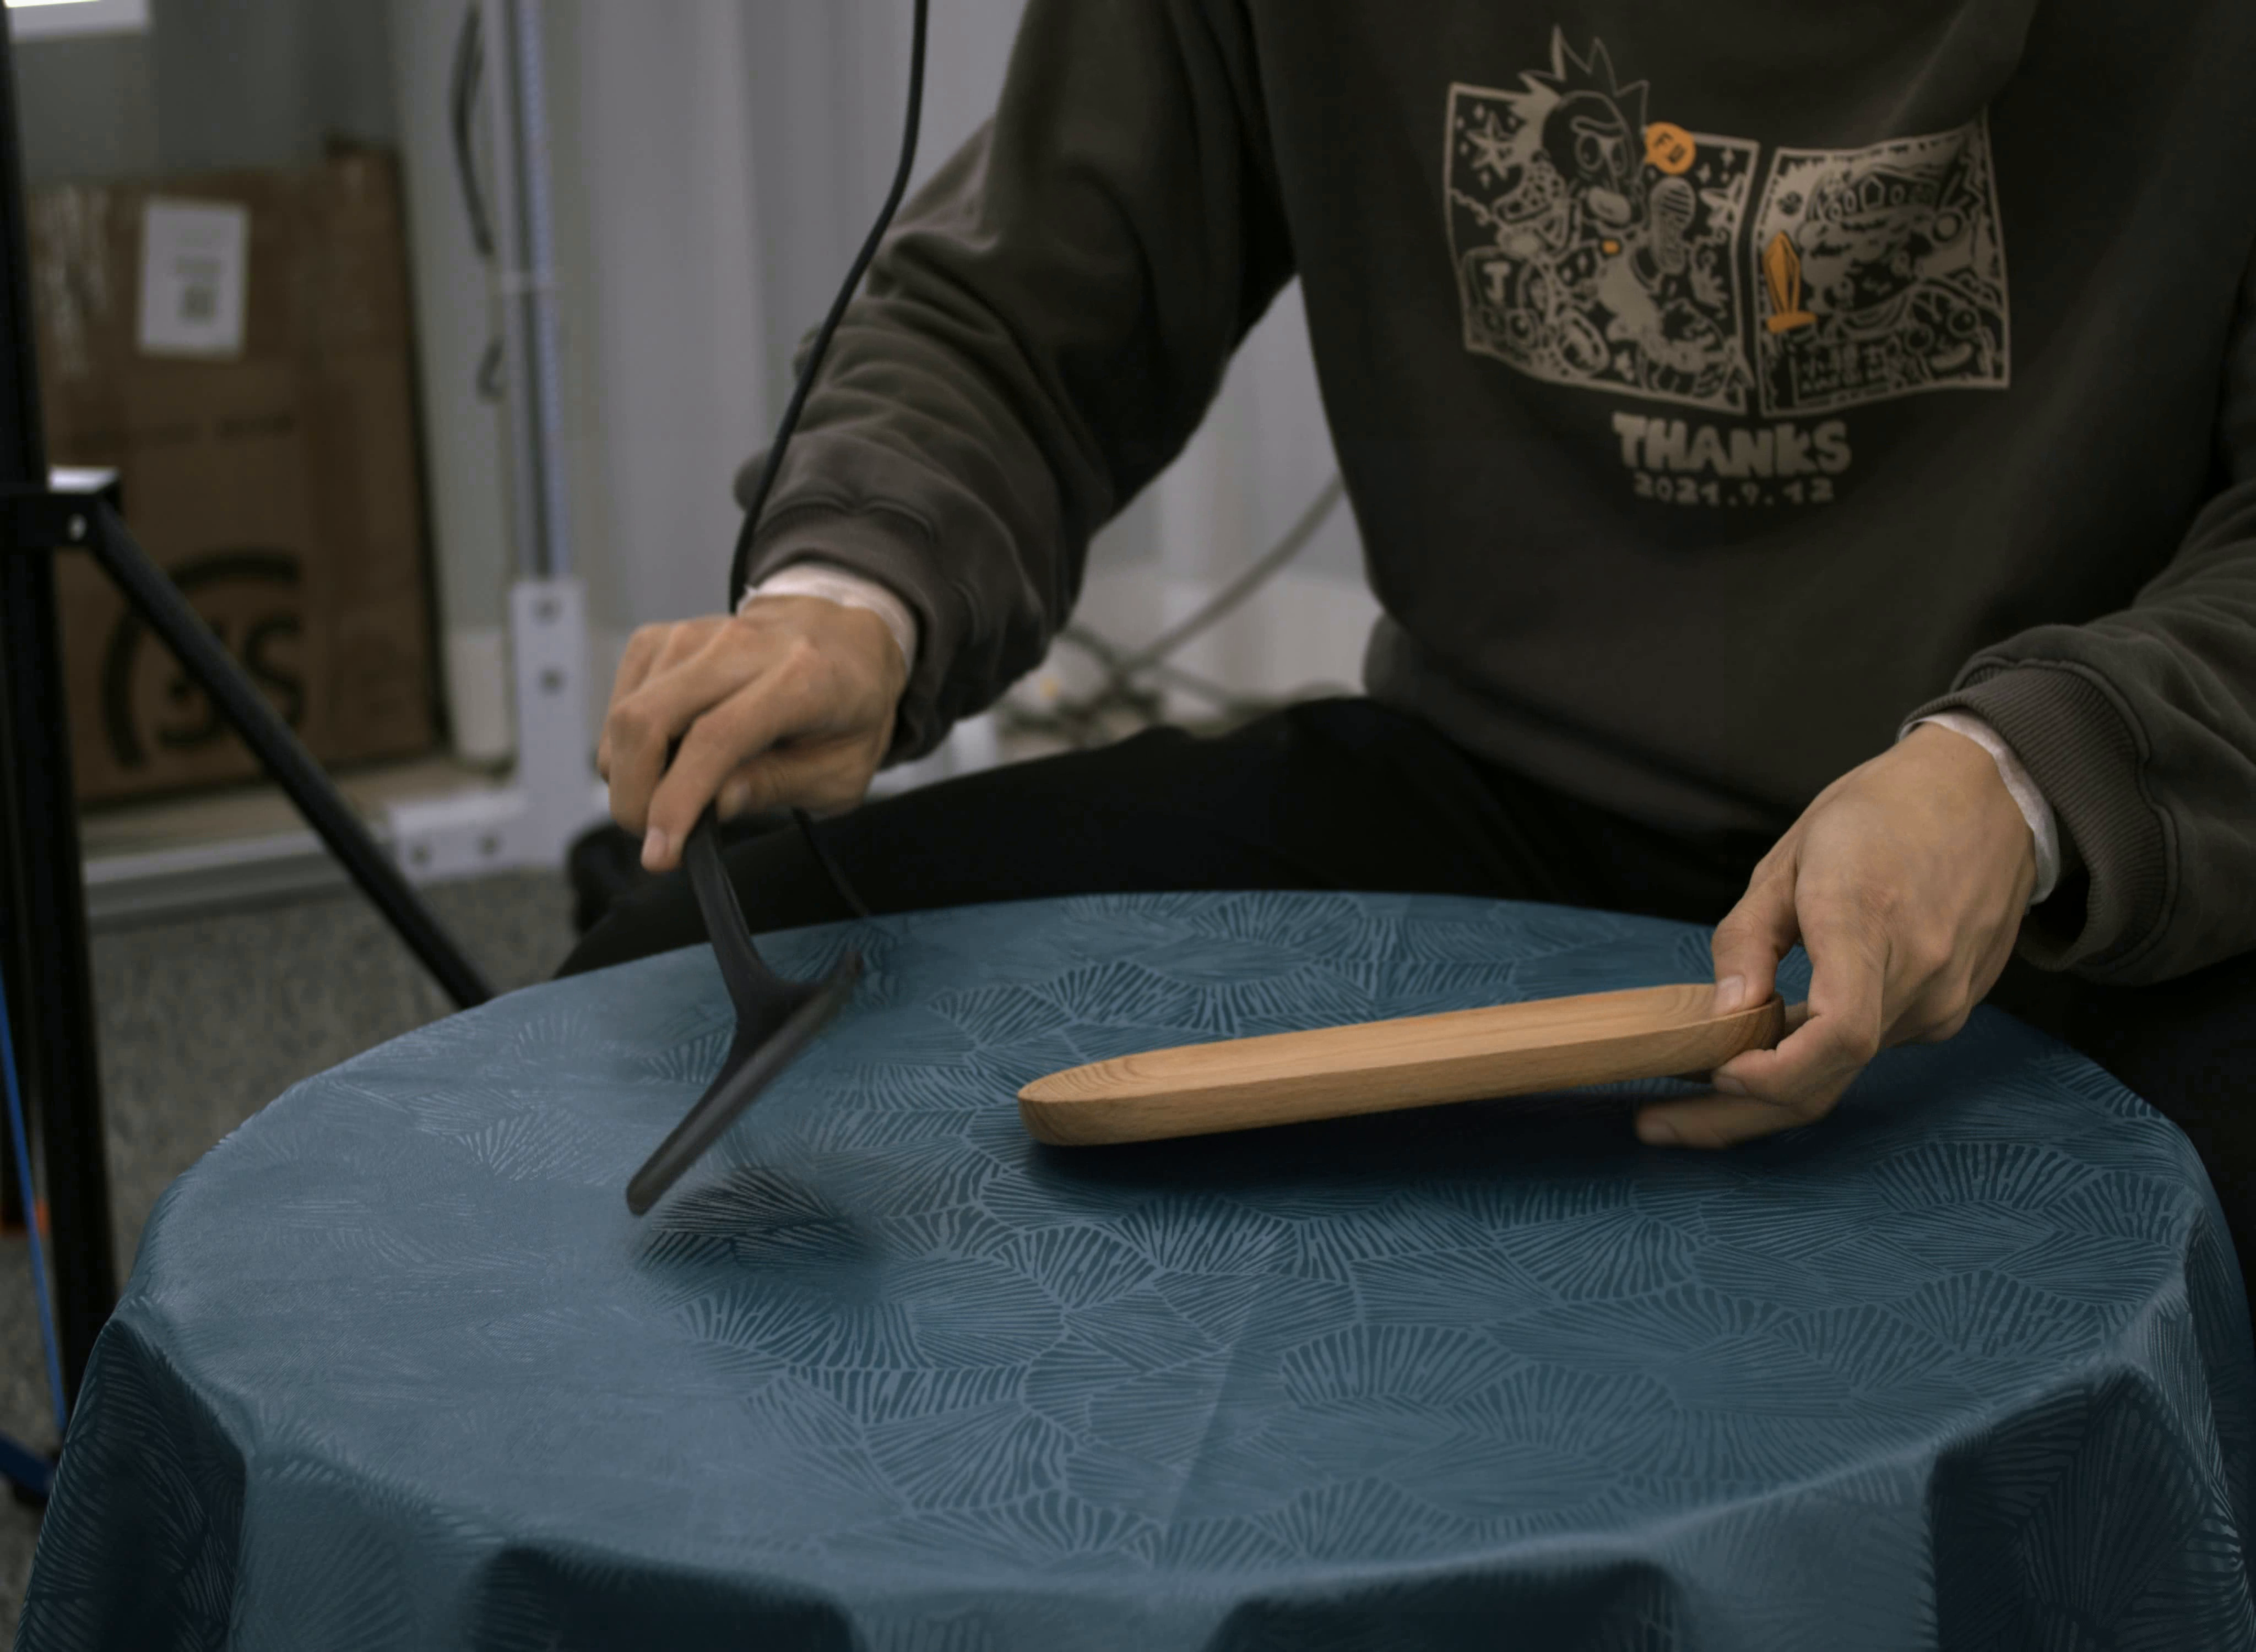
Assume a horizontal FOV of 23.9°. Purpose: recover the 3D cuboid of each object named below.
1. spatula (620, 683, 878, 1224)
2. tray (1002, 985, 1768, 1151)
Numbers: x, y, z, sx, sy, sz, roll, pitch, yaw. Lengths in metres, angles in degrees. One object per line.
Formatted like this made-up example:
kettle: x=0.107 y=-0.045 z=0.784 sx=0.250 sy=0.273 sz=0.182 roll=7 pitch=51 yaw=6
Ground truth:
spatula: x=-0.131 y=0.022 z=1.659 sx=0.100 sy=0.039 sz=0.331 roll=-42 pitch=29 yaw=9
tray: x=0.077 y=0.073 z=1.590 sx=0.231 sy=0.020 sz=0.101 roll=-9 pitch=5 yaw=7
